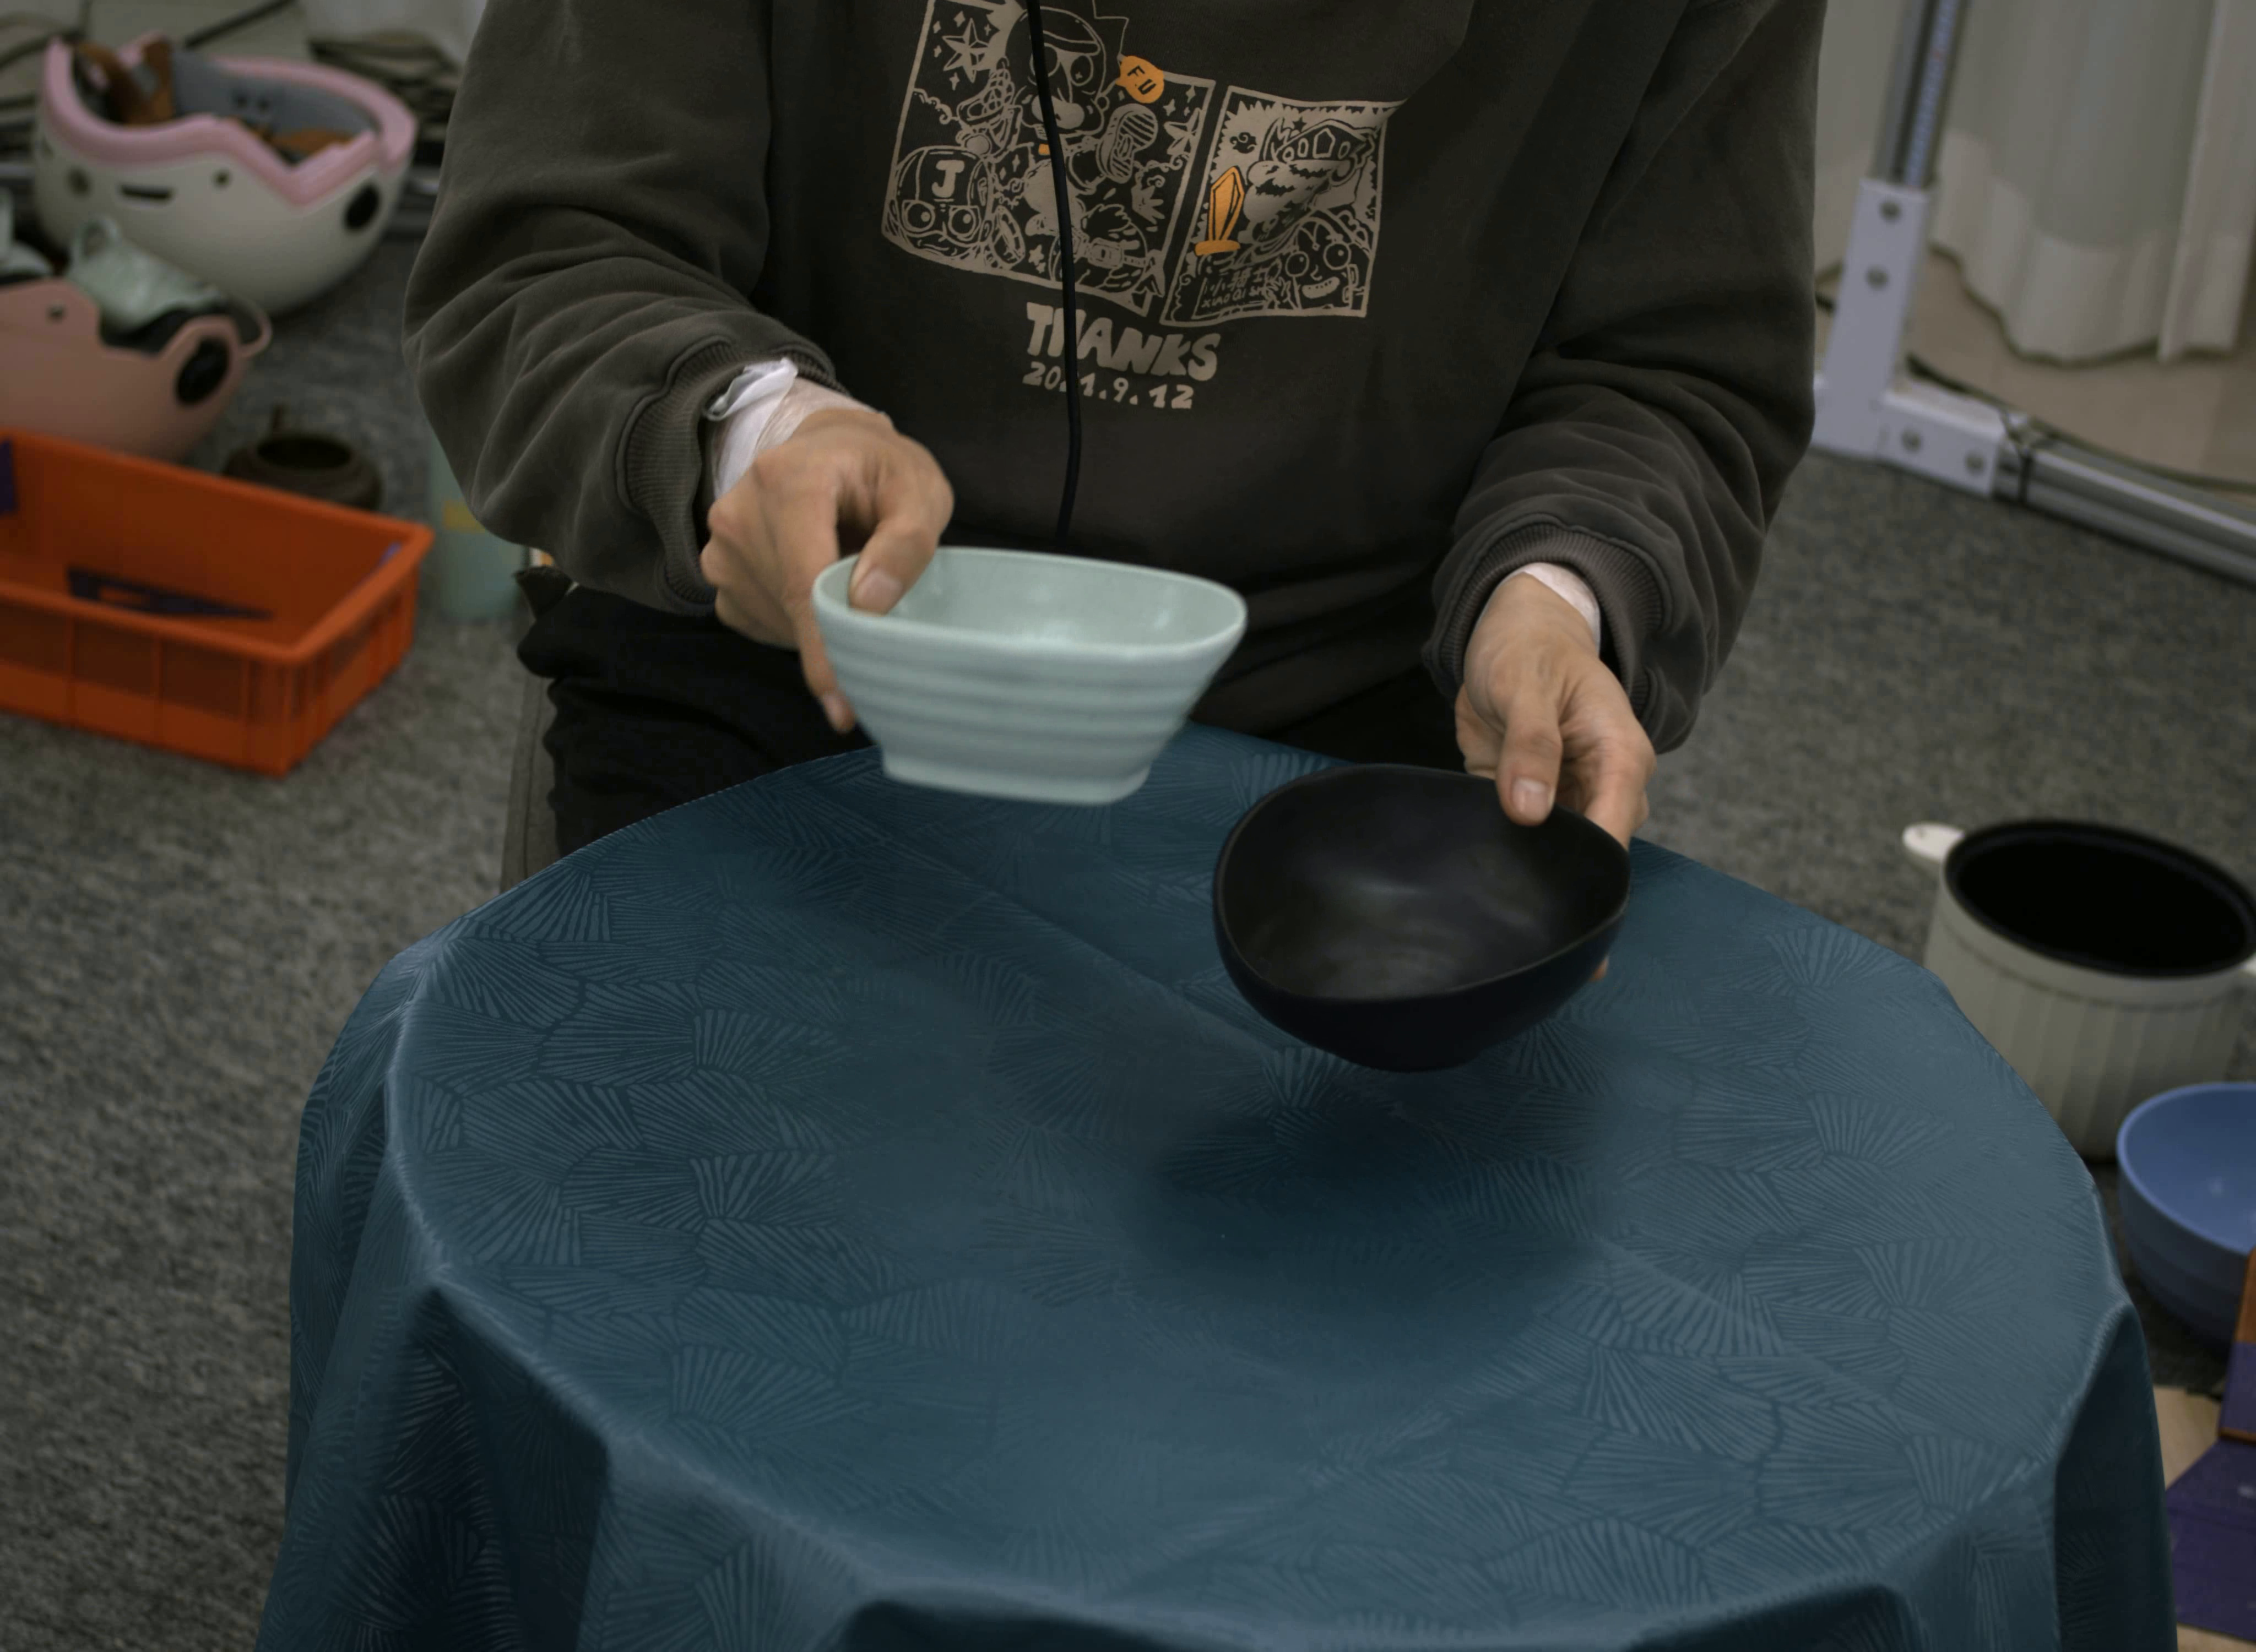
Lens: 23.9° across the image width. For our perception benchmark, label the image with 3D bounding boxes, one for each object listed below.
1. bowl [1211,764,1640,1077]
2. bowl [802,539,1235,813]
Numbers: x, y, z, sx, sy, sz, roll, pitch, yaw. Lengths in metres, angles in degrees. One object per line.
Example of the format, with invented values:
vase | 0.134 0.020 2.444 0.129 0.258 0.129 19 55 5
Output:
bowl | 0.100 0.043 1.839 0.138 0.066 0.170 23 33 28
bowl | -0.038 -0.046 1.723 0.151 0.058 0.152 7 15 -2
